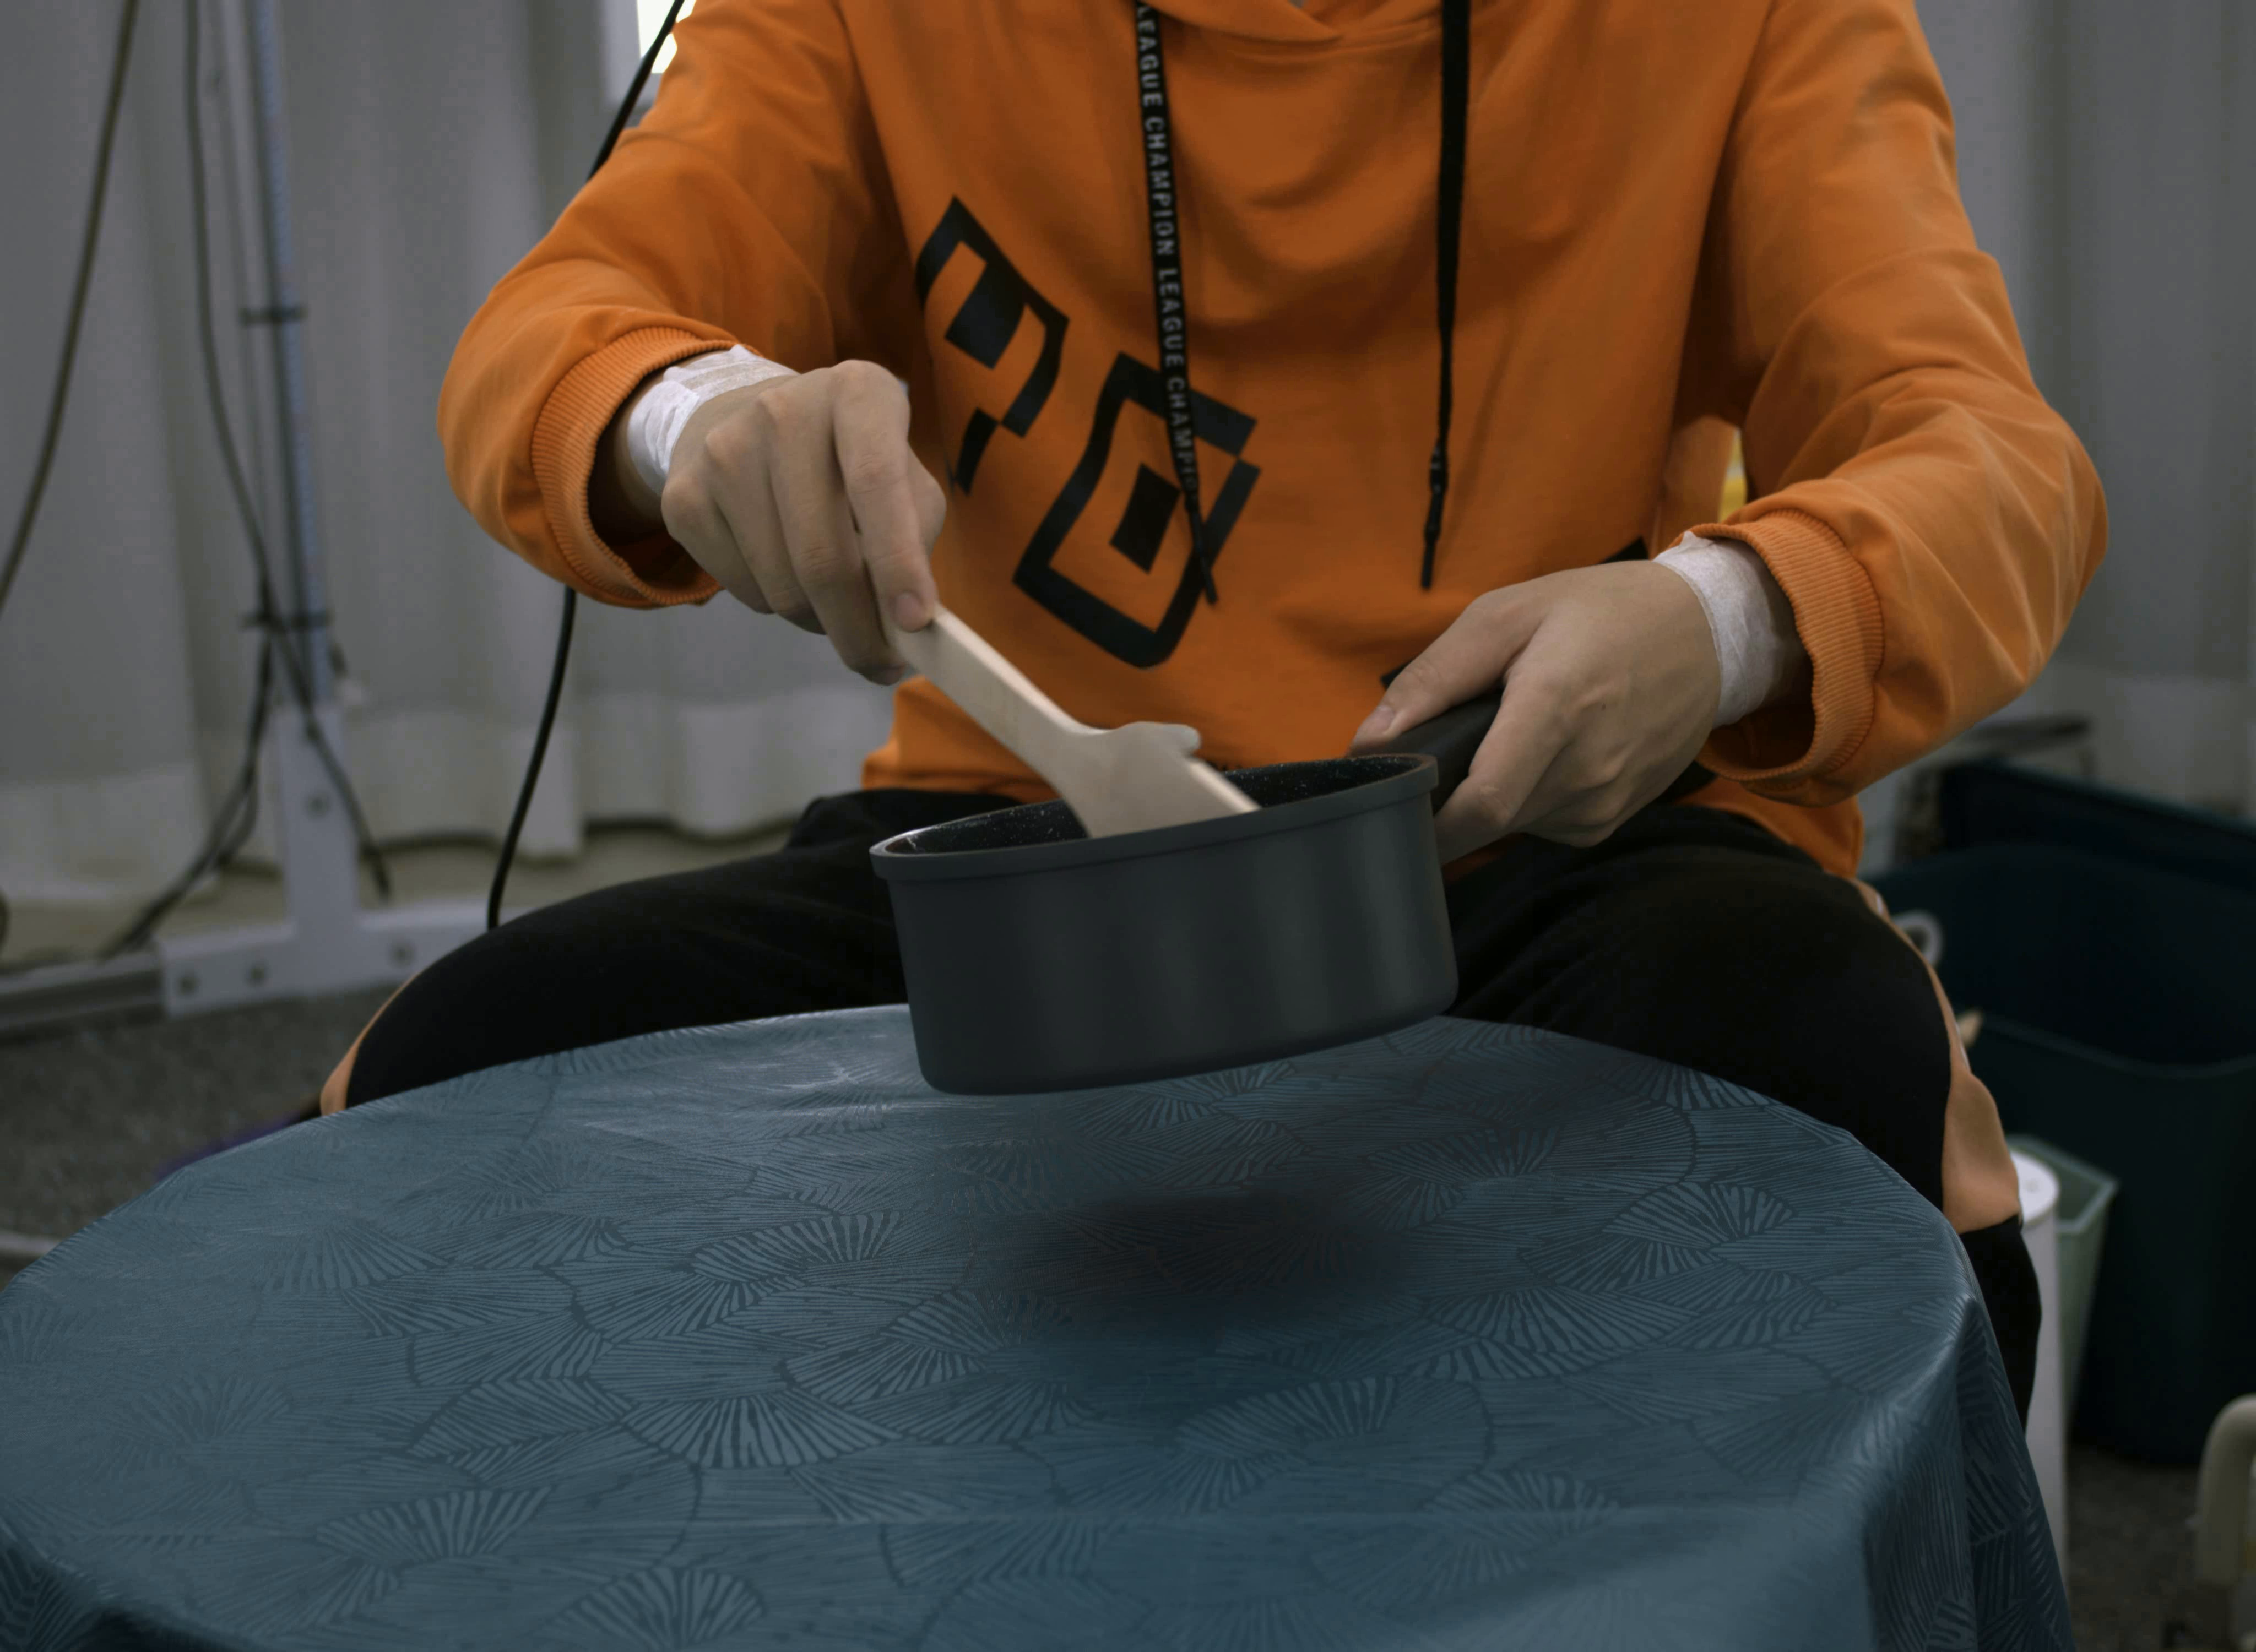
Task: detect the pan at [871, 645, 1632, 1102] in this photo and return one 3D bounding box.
[{"bbox_3d":[0.060,0.013,1.691,0.172,0.086,0.328,-4,8,38],"label":"pan"}]

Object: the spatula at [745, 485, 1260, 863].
[{"bbox_3d":[-0.043,-0.040,1.676,0.010,0.071,0.296,-24,37,-24],"label":"spatula"}]
